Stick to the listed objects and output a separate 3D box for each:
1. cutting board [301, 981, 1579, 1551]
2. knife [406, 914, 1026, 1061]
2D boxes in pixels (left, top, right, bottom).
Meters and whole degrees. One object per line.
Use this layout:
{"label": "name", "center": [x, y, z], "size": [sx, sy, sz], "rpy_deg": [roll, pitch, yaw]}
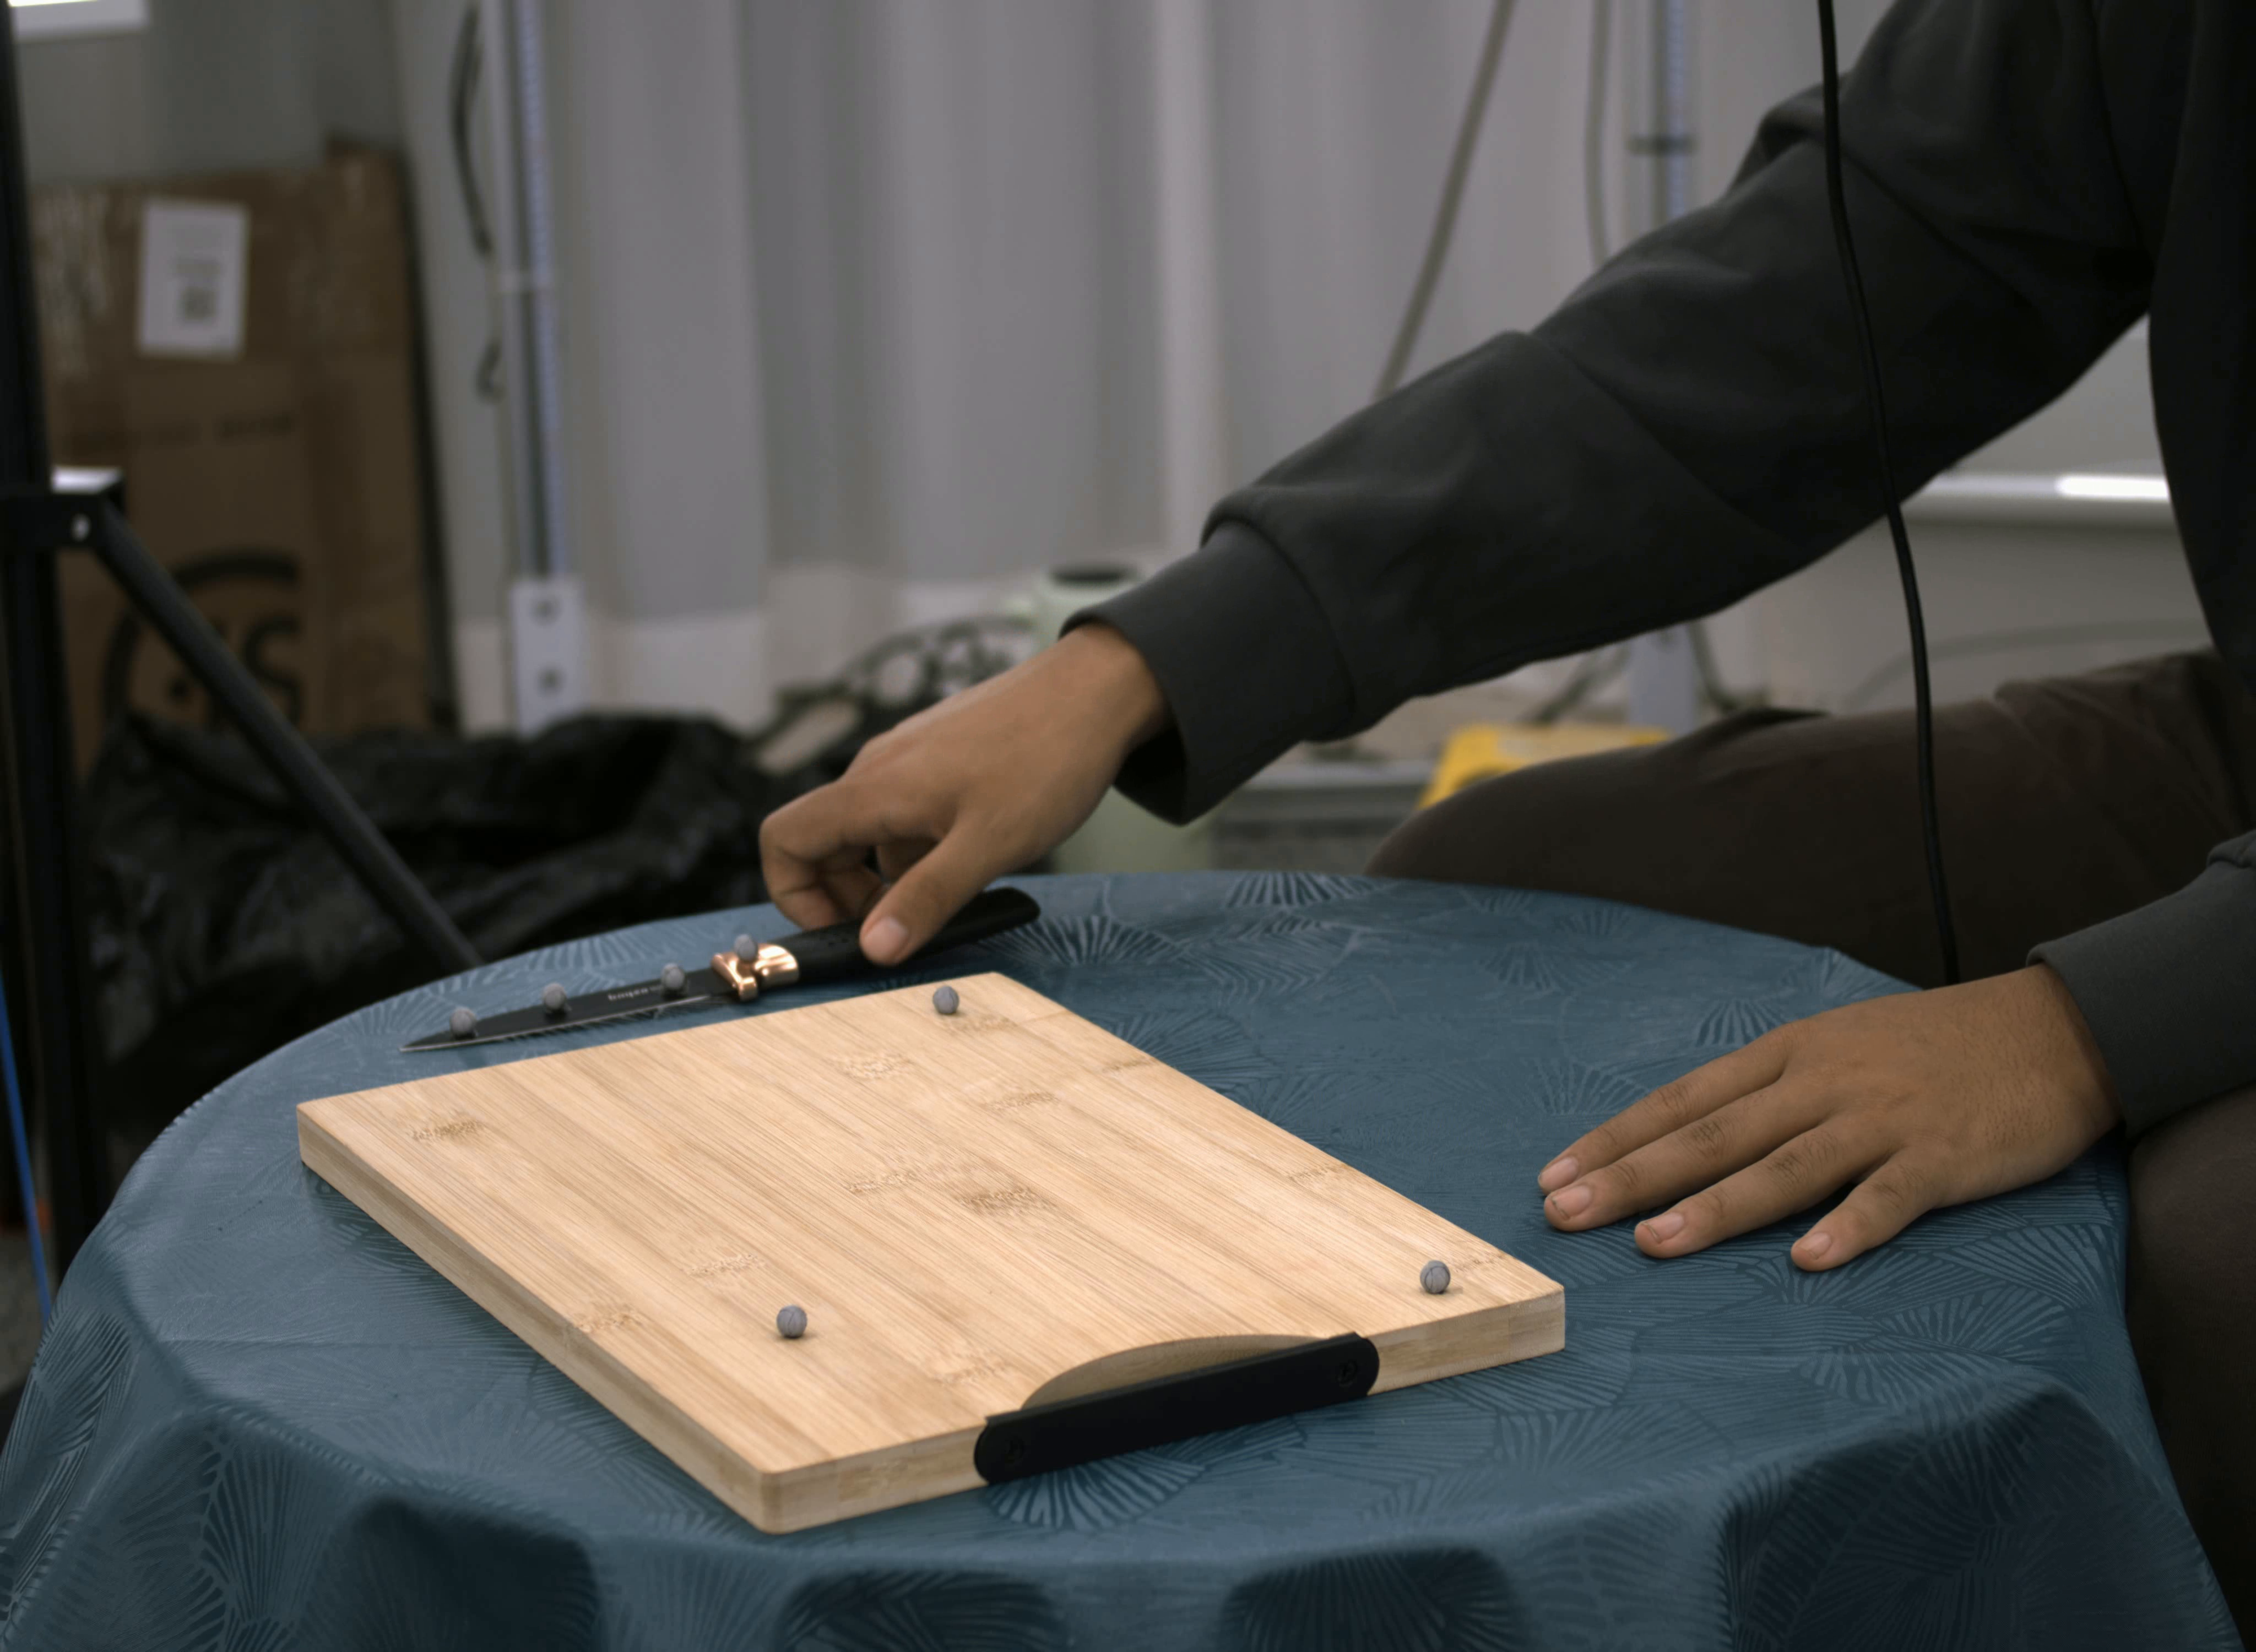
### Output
{"label": "cutting board", "center": [-0.064, 0.115, 1.513], "size": [0.245, 0.023, 0.356], "rpy_deg": [-11, 18, -26]}
{"label": "knife", "center": [-0.133, 0.054, 1.750], "size": [0.221, 0.017, 0.027], "rpy_deg": [-10, 24, -23]}
